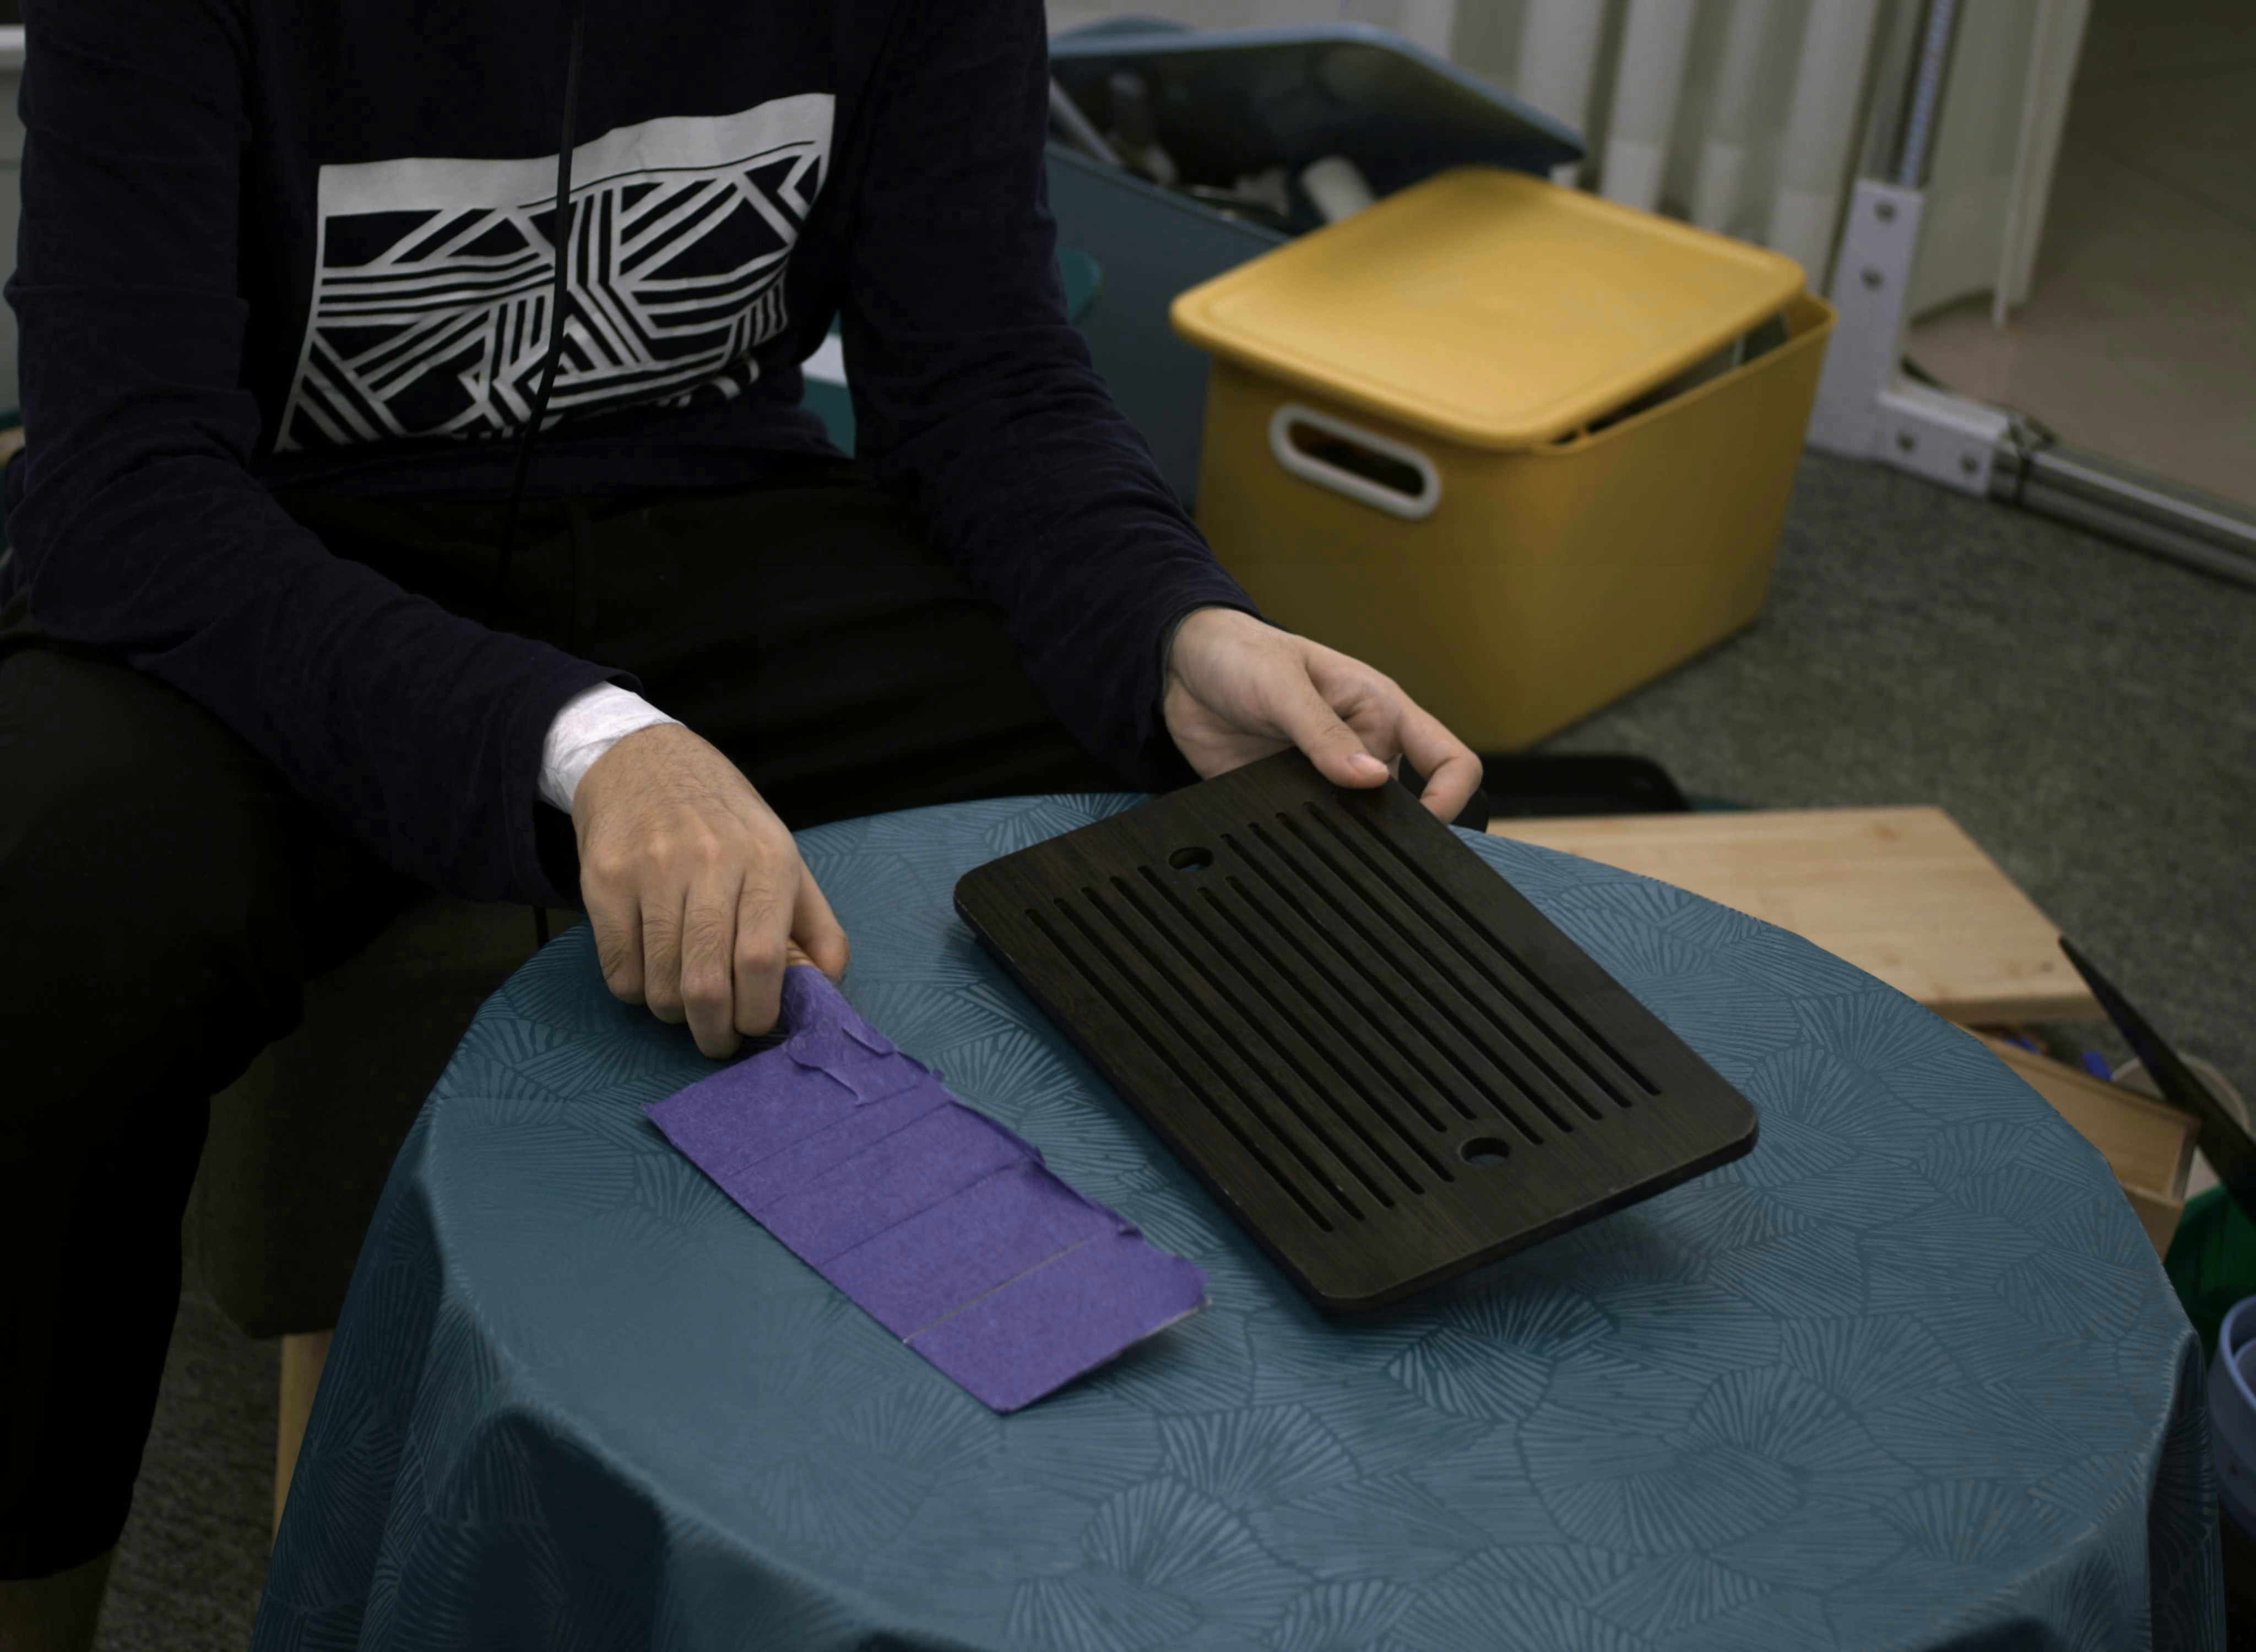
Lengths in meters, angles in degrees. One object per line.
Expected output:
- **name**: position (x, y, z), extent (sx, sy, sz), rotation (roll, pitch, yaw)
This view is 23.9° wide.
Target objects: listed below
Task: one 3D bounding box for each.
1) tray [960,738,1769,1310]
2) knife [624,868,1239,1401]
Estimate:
- **tray**: position (0.077, 0.066, 1.875), extent (0.169, 0.018, 0.309), rotation (-21, 35, -18)
- **knife**: position (-0.098, 0.100, 1.797), extent (0.103, 0.032, 0.318), rotation (-23, 37, -31)
